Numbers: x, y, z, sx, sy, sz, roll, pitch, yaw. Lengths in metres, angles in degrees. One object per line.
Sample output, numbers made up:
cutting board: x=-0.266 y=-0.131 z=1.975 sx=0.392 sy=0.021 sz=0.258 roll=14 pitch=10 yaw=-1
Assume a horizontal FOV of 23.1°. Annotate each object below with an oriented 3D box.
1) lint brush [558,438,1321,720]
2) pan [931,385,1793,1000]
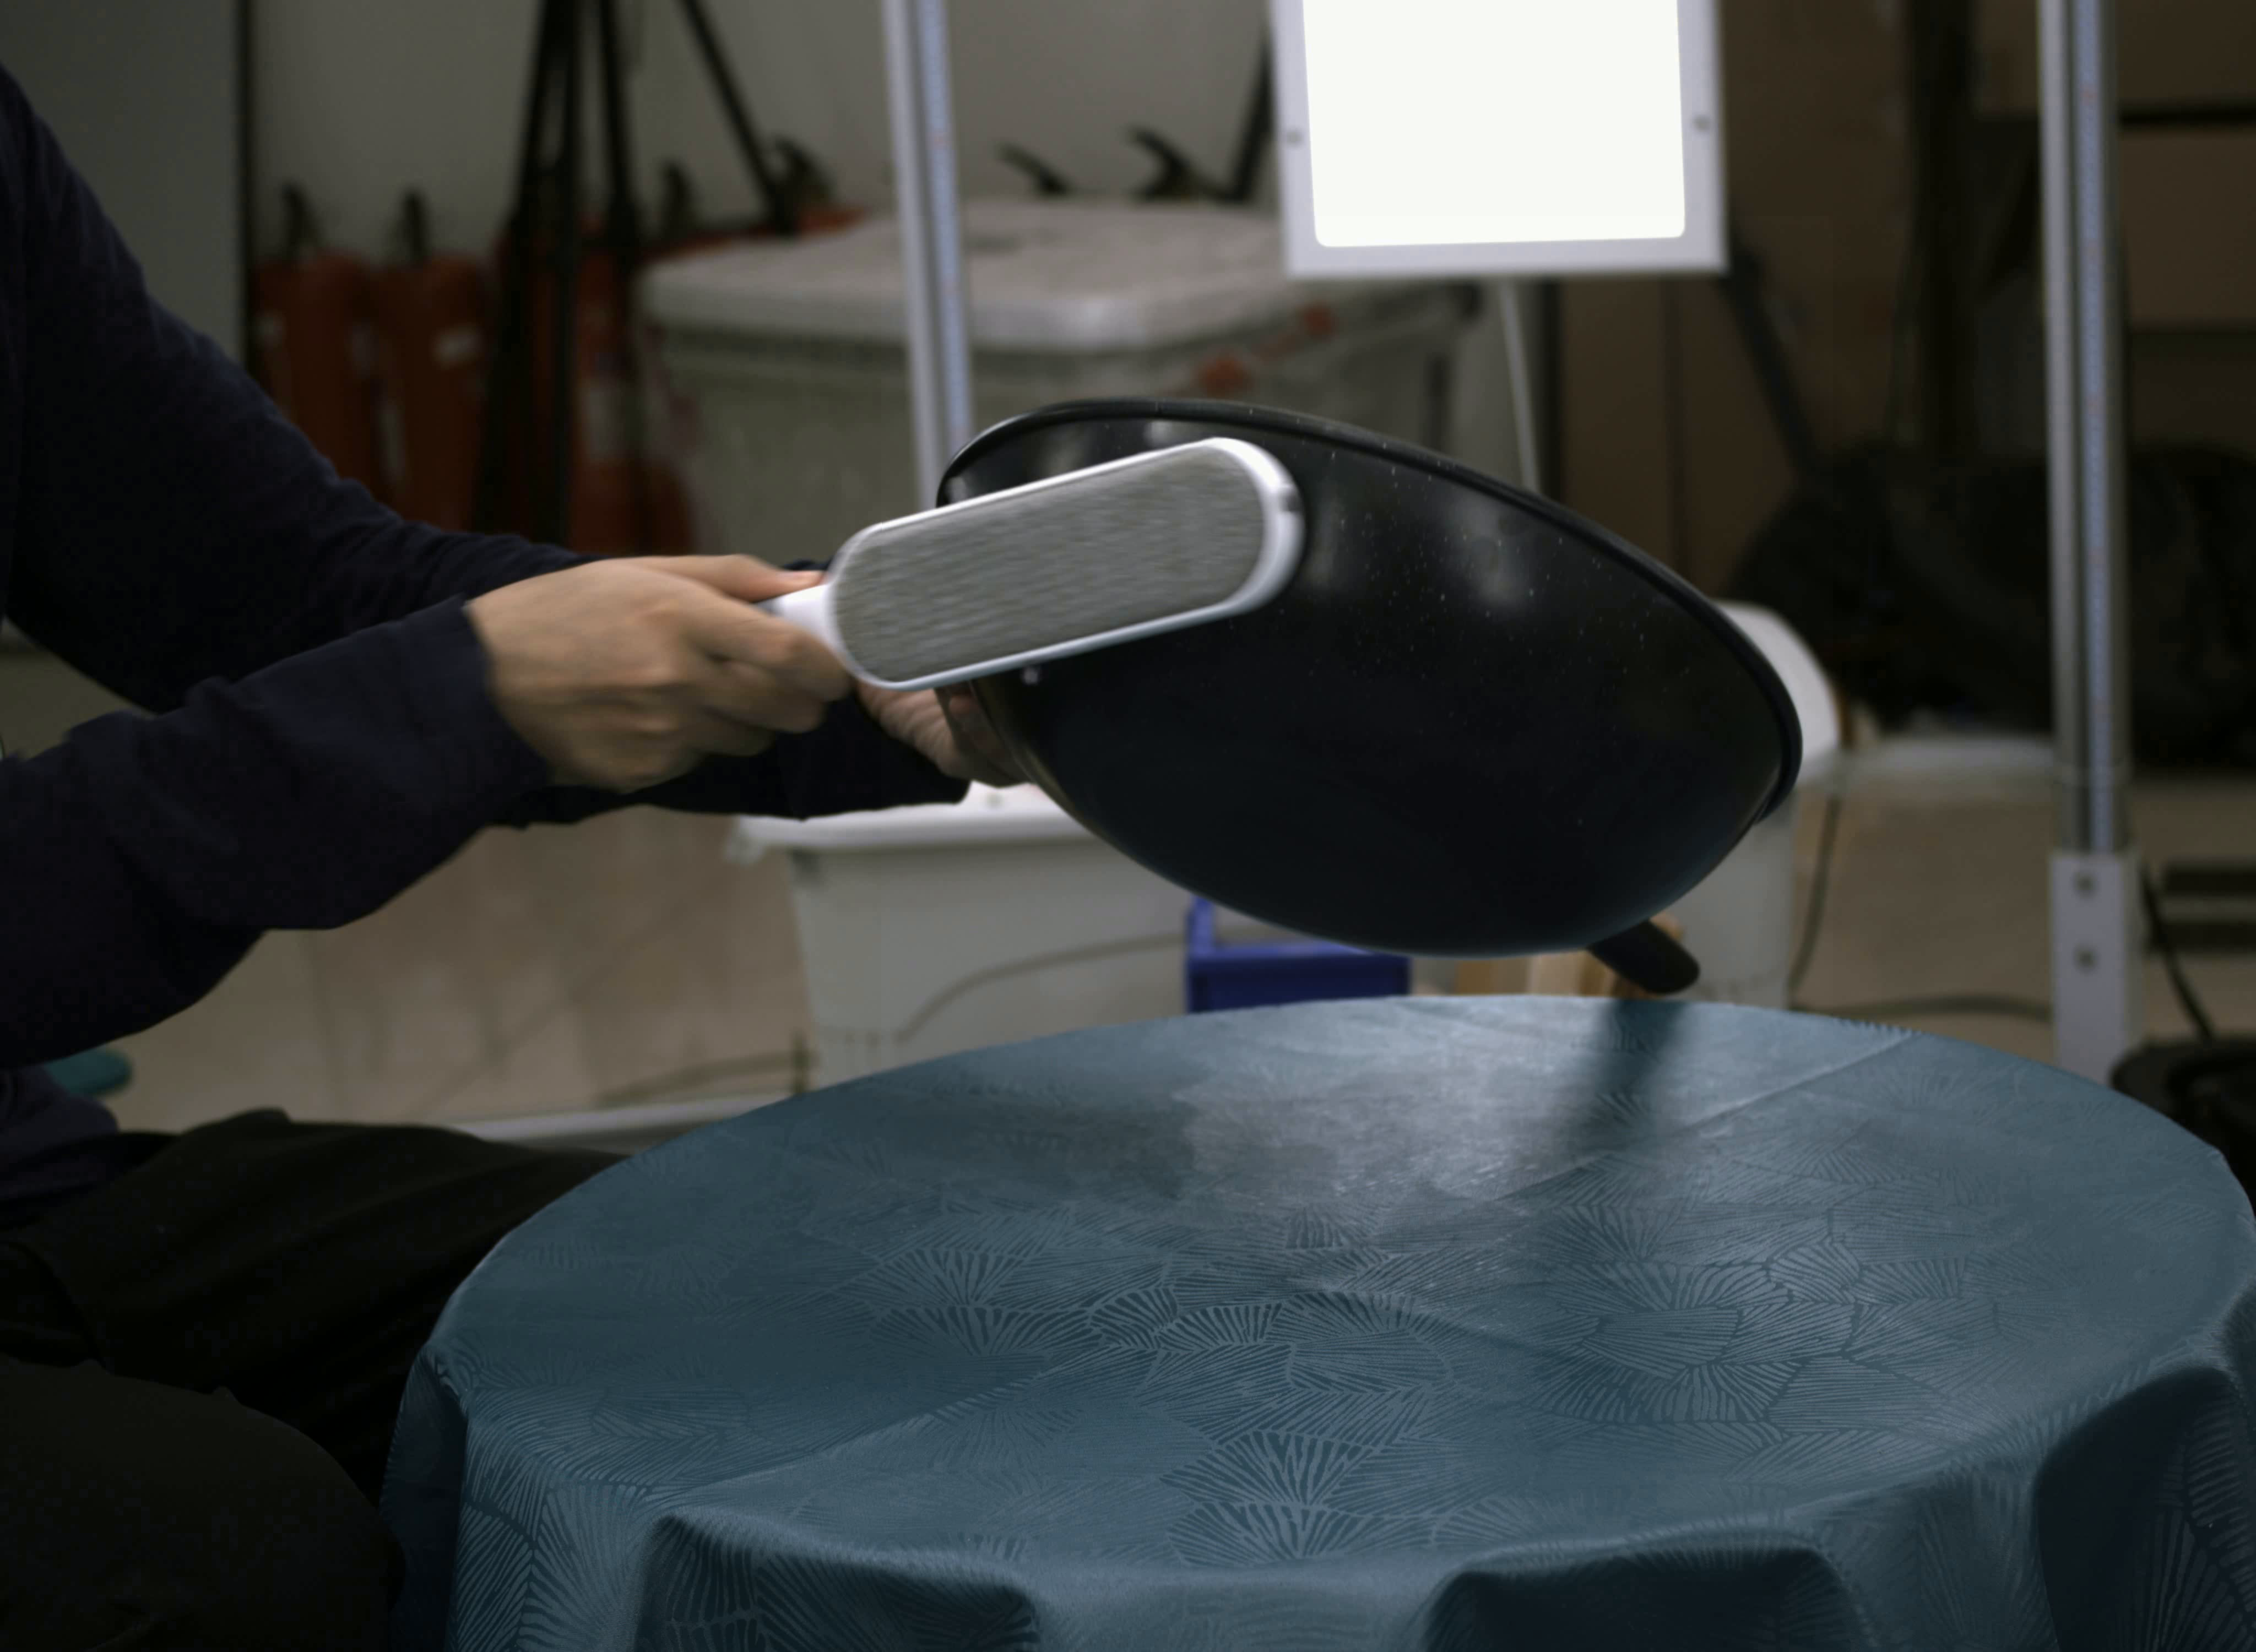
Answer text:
lint brush: x=-0.067 y=-0.074 z=1.797 sx=0.315 sy=0.060 sz=0.020 roll=-12 pitch=1 yaw=36
pan: x=0.102 y=-0.004 z=1.922 sx=0.316 sy=0.111 sz=0.471 roll=10 pitch=-22 yaw=31
